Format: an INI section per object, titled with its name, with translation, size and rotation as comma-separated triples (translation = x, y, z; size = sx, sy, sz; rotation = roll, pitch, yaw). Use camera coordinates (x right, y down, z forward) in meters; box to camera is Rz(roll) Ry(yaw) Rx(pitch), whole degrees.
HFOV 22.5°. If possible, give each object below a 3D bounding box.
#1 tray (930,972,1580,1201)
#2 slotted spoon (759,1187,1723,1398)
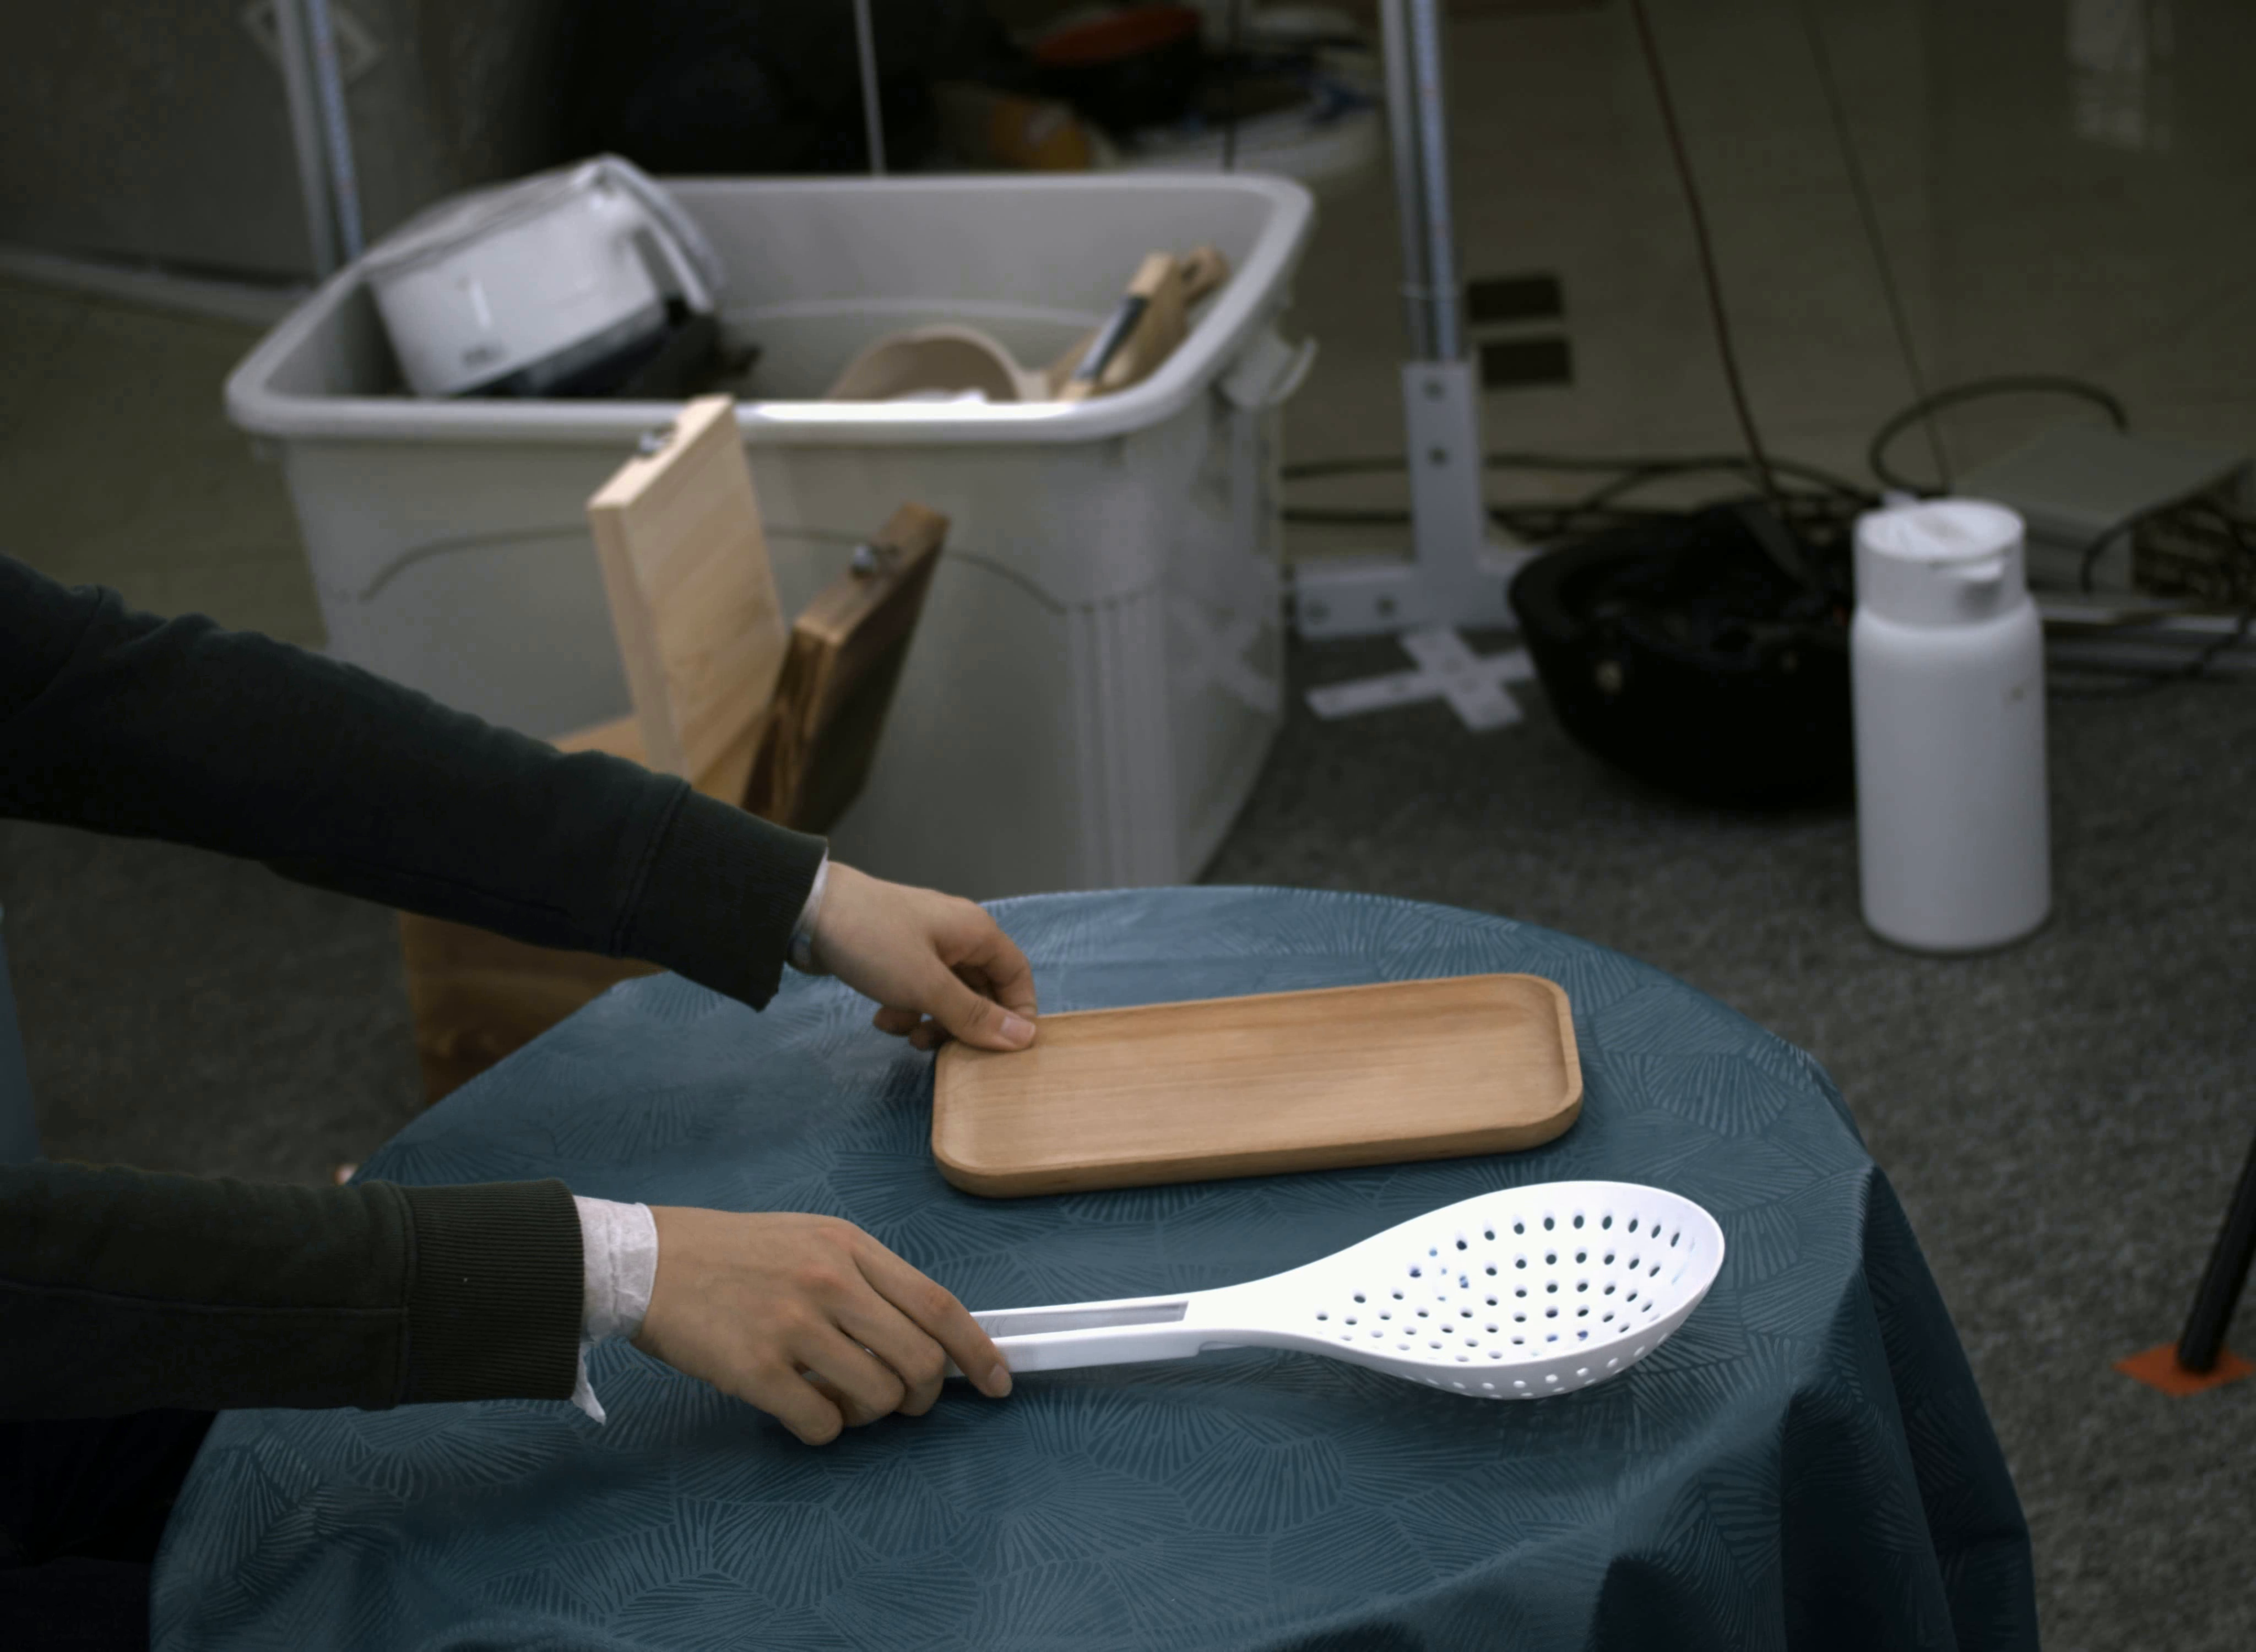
[tray]
translation = 0.048, 0.101, 2.200
size = 0.250, 0.023, 0.128
rotation = -6, 24, 3
[slotted spoon]
translation = 0.037, 0.175, 2.012
size = 0.349, 0.046, 0.134
rotation = -2, 22, 11
